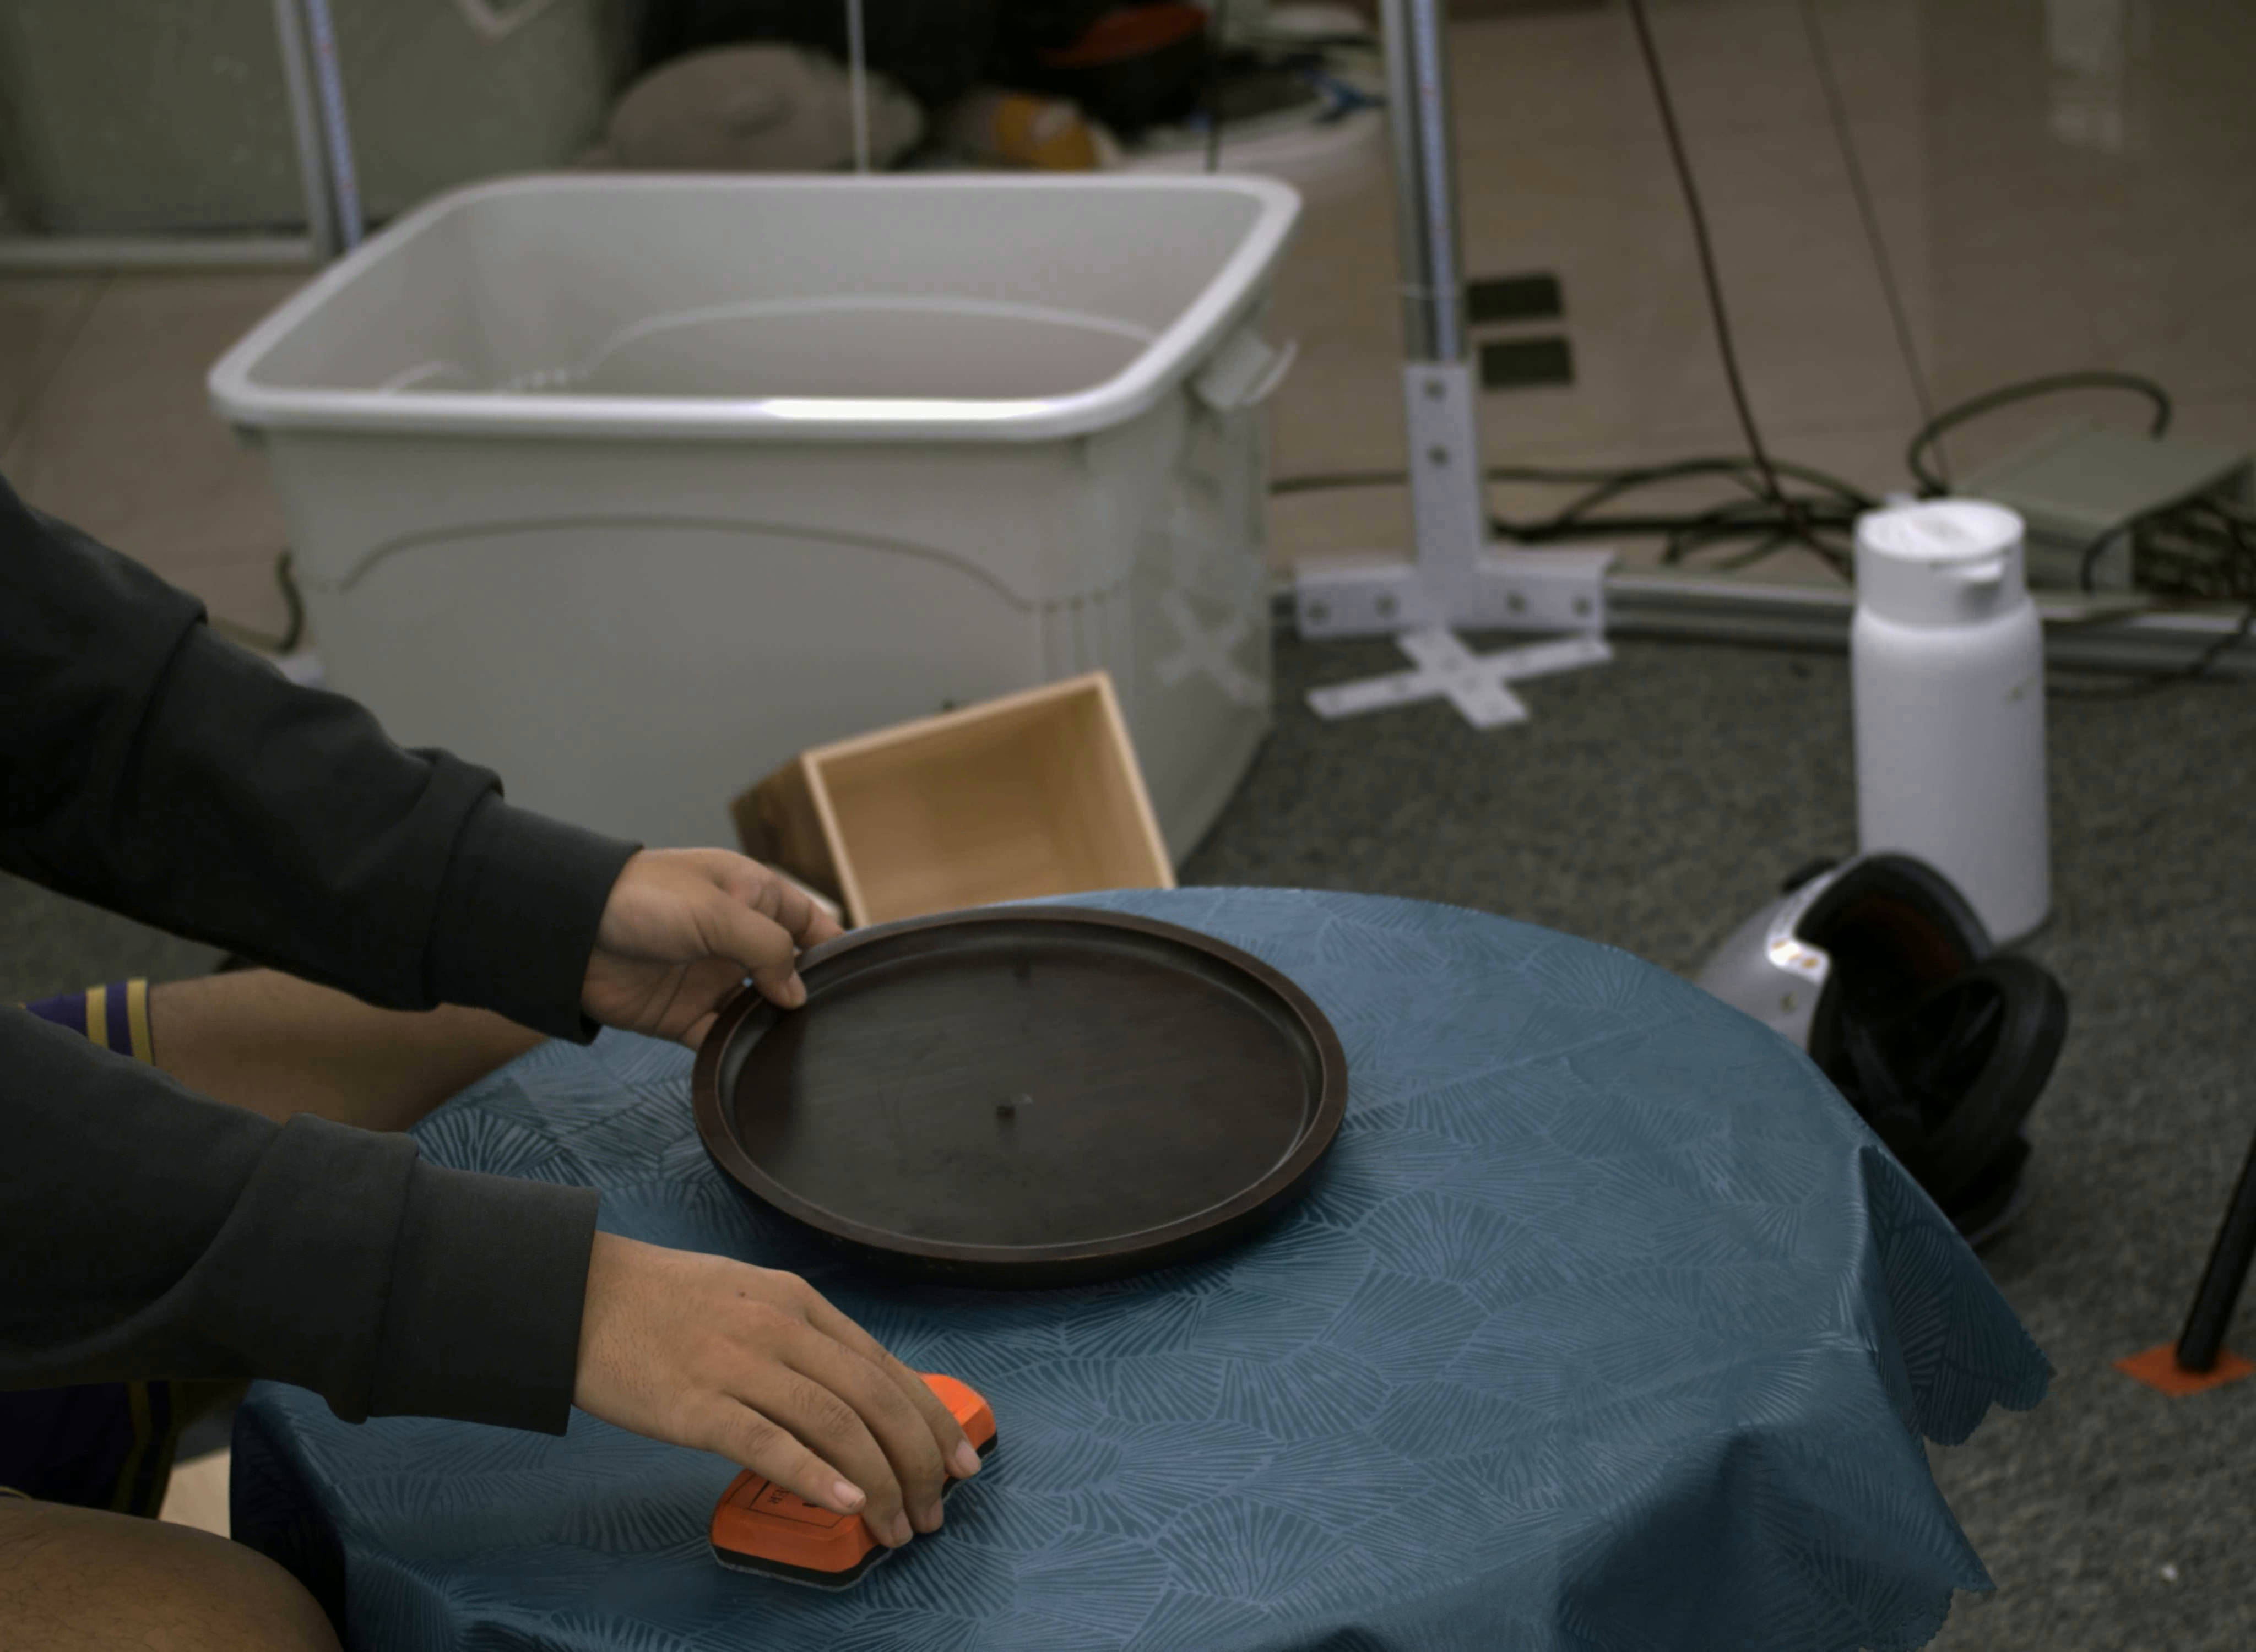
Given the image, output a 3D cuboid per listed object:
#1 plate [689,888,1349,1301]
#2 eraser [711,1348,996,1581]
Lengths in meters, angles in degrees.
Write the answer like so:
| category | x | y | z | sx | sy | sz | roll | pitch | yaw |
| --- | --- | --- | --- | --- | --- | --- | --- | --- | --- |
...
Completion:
| category | x | y | z | sx | sy | sz | roll | pitch | yaw |
| --- | --- | --- | --- | --- | --- | --- | --- | --- | --- |
| plate | -0.042 | 0.104 | 2.169 | 0.254 | 0.029 | 0.250 | -1 | 33 | 1 |
| eraser | -0.094 | 0.219 | 1.959 | 0.058 | 0.023 | 0.107 | 12 | 31 | 28 |
